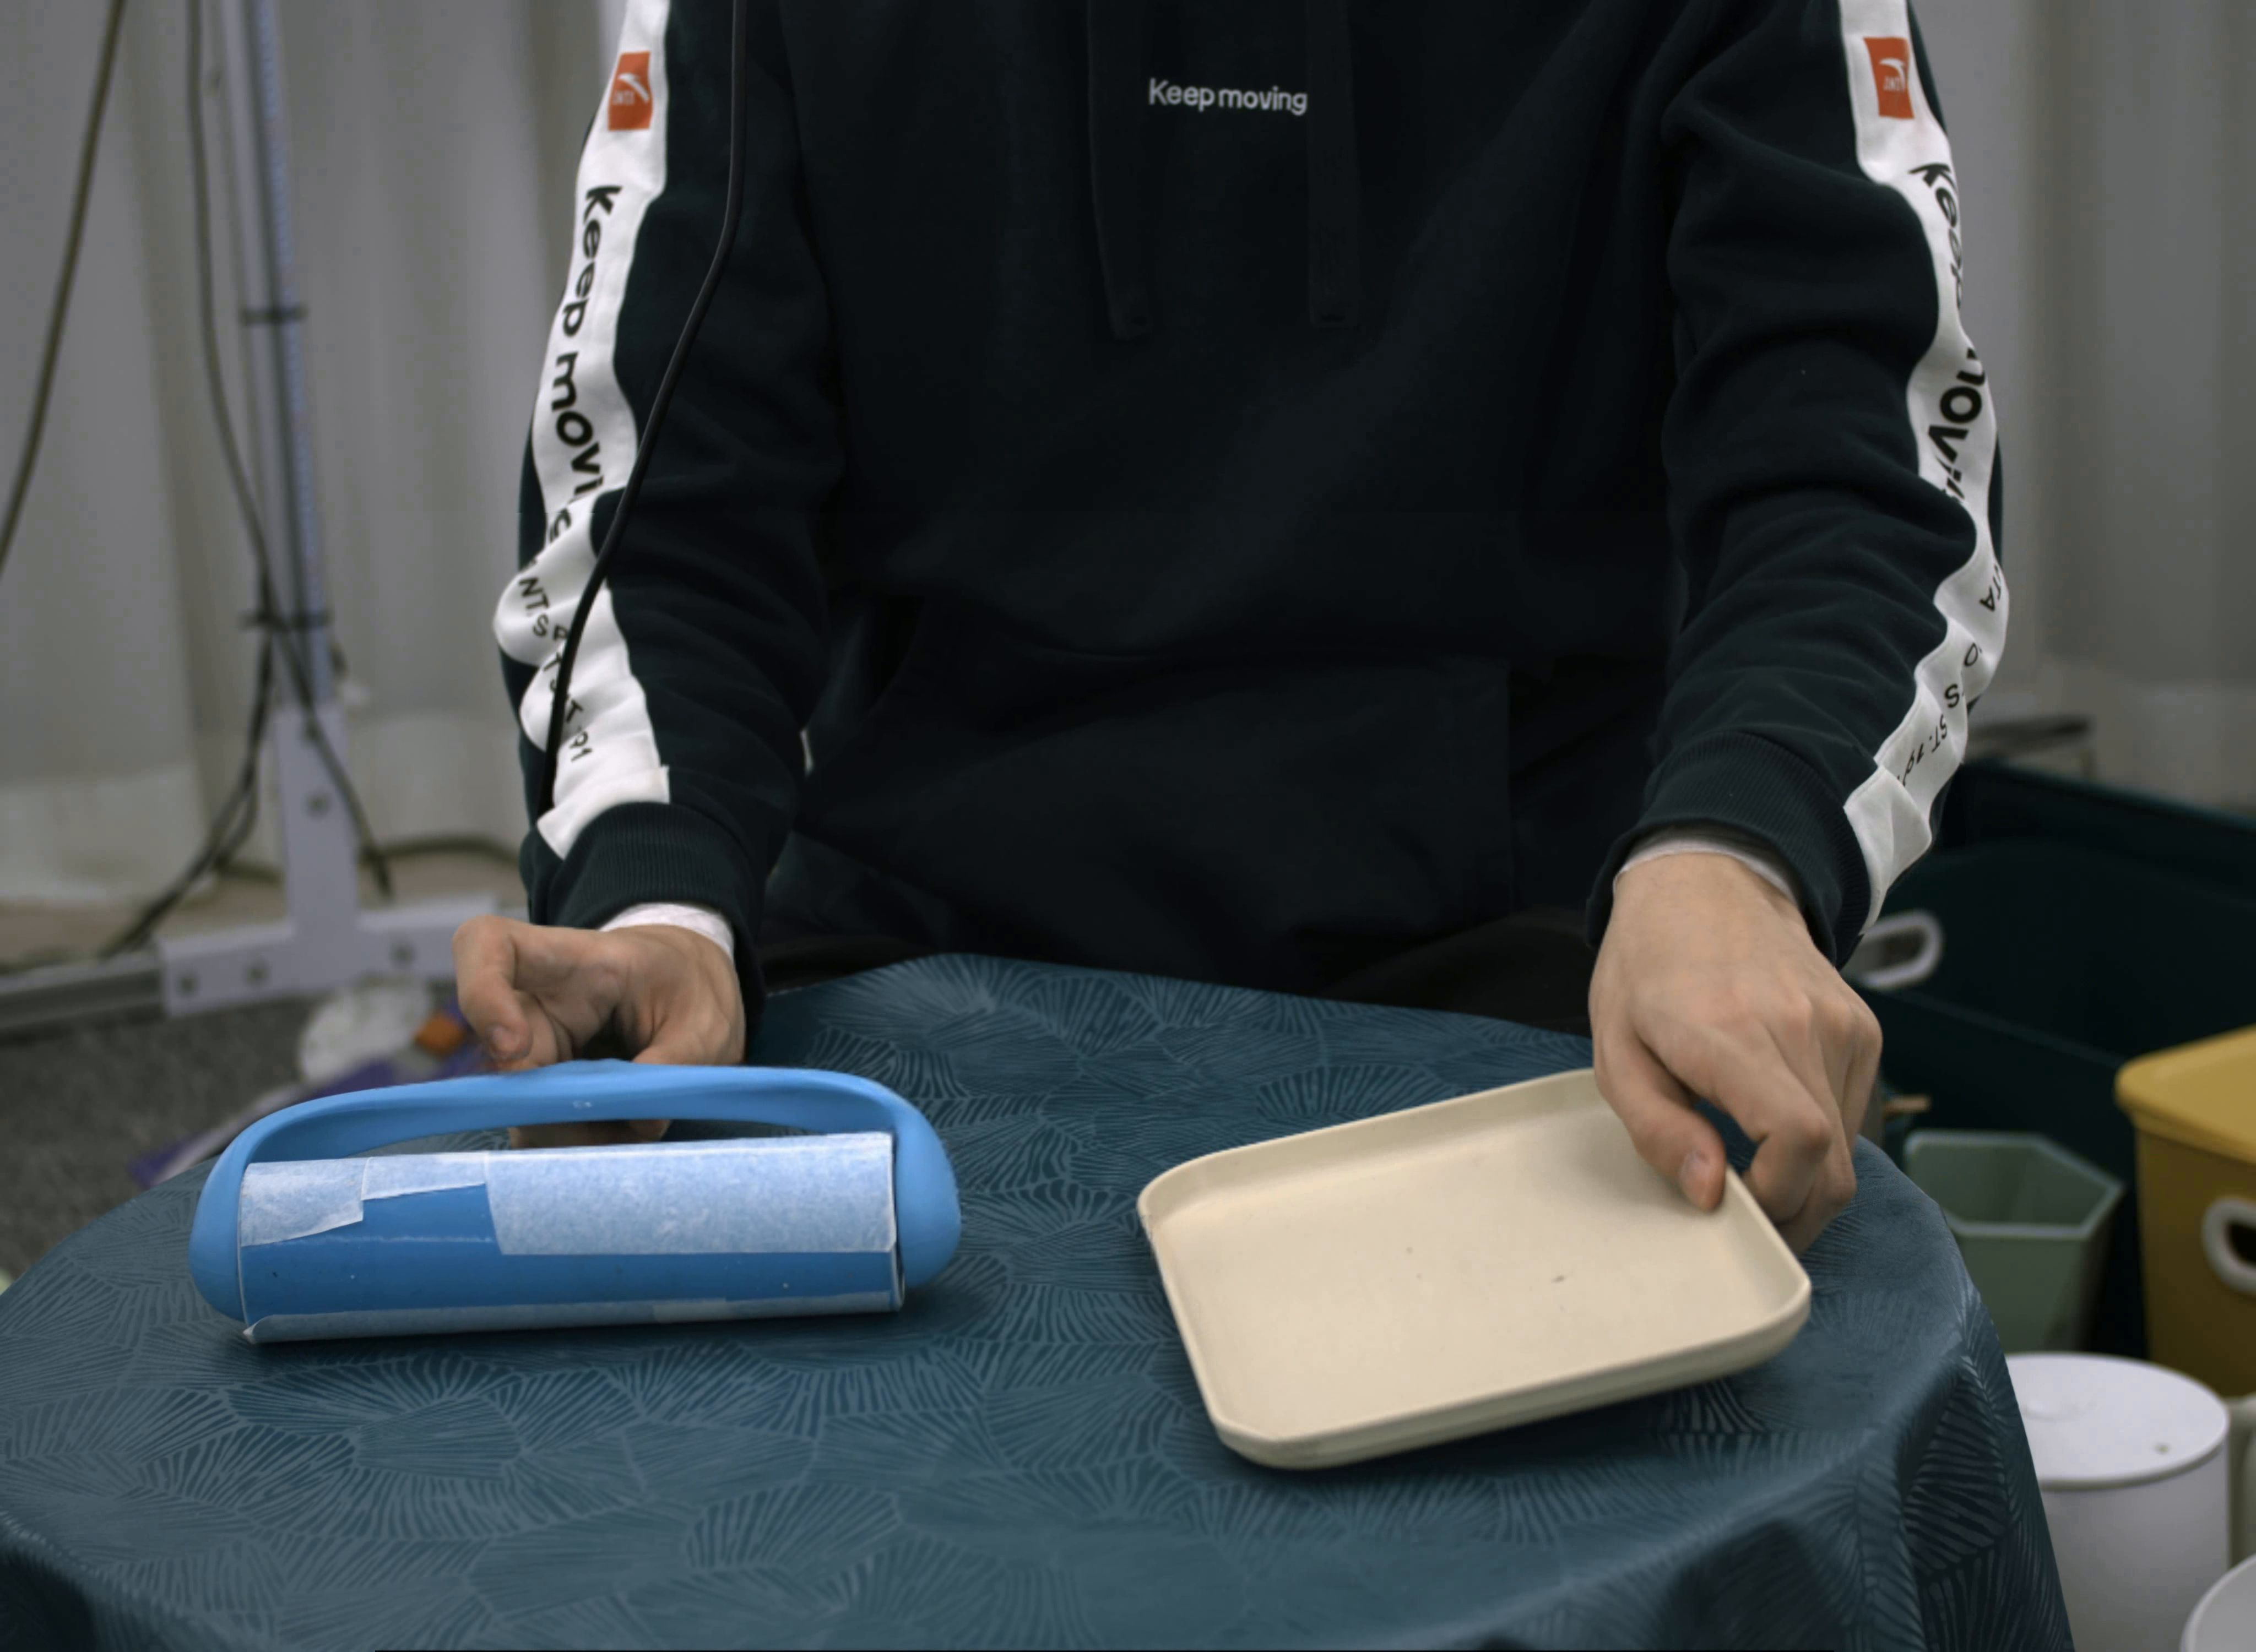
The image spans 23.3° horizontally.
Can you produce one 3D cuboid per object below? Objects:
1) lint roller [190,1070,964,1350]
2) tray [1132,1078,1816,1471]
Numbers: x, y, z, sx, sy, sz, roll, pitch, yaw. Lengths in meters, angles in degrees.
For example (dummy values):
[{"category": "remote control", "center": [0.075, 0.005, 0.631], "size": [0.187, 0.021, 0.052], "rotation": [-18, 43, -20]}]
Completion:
[{"category": "lint roller", "center": [-0.166, 0.105, 1.672], "size": [0.228, 0.067, 0.181], "rotation": [-5, 16, -2]}, {"category": "tray", "center": [0.096, 0.128, 1.577], "size": [0.171, 0.017, 0.241], "rotation": [-11, 15, -4]}]
